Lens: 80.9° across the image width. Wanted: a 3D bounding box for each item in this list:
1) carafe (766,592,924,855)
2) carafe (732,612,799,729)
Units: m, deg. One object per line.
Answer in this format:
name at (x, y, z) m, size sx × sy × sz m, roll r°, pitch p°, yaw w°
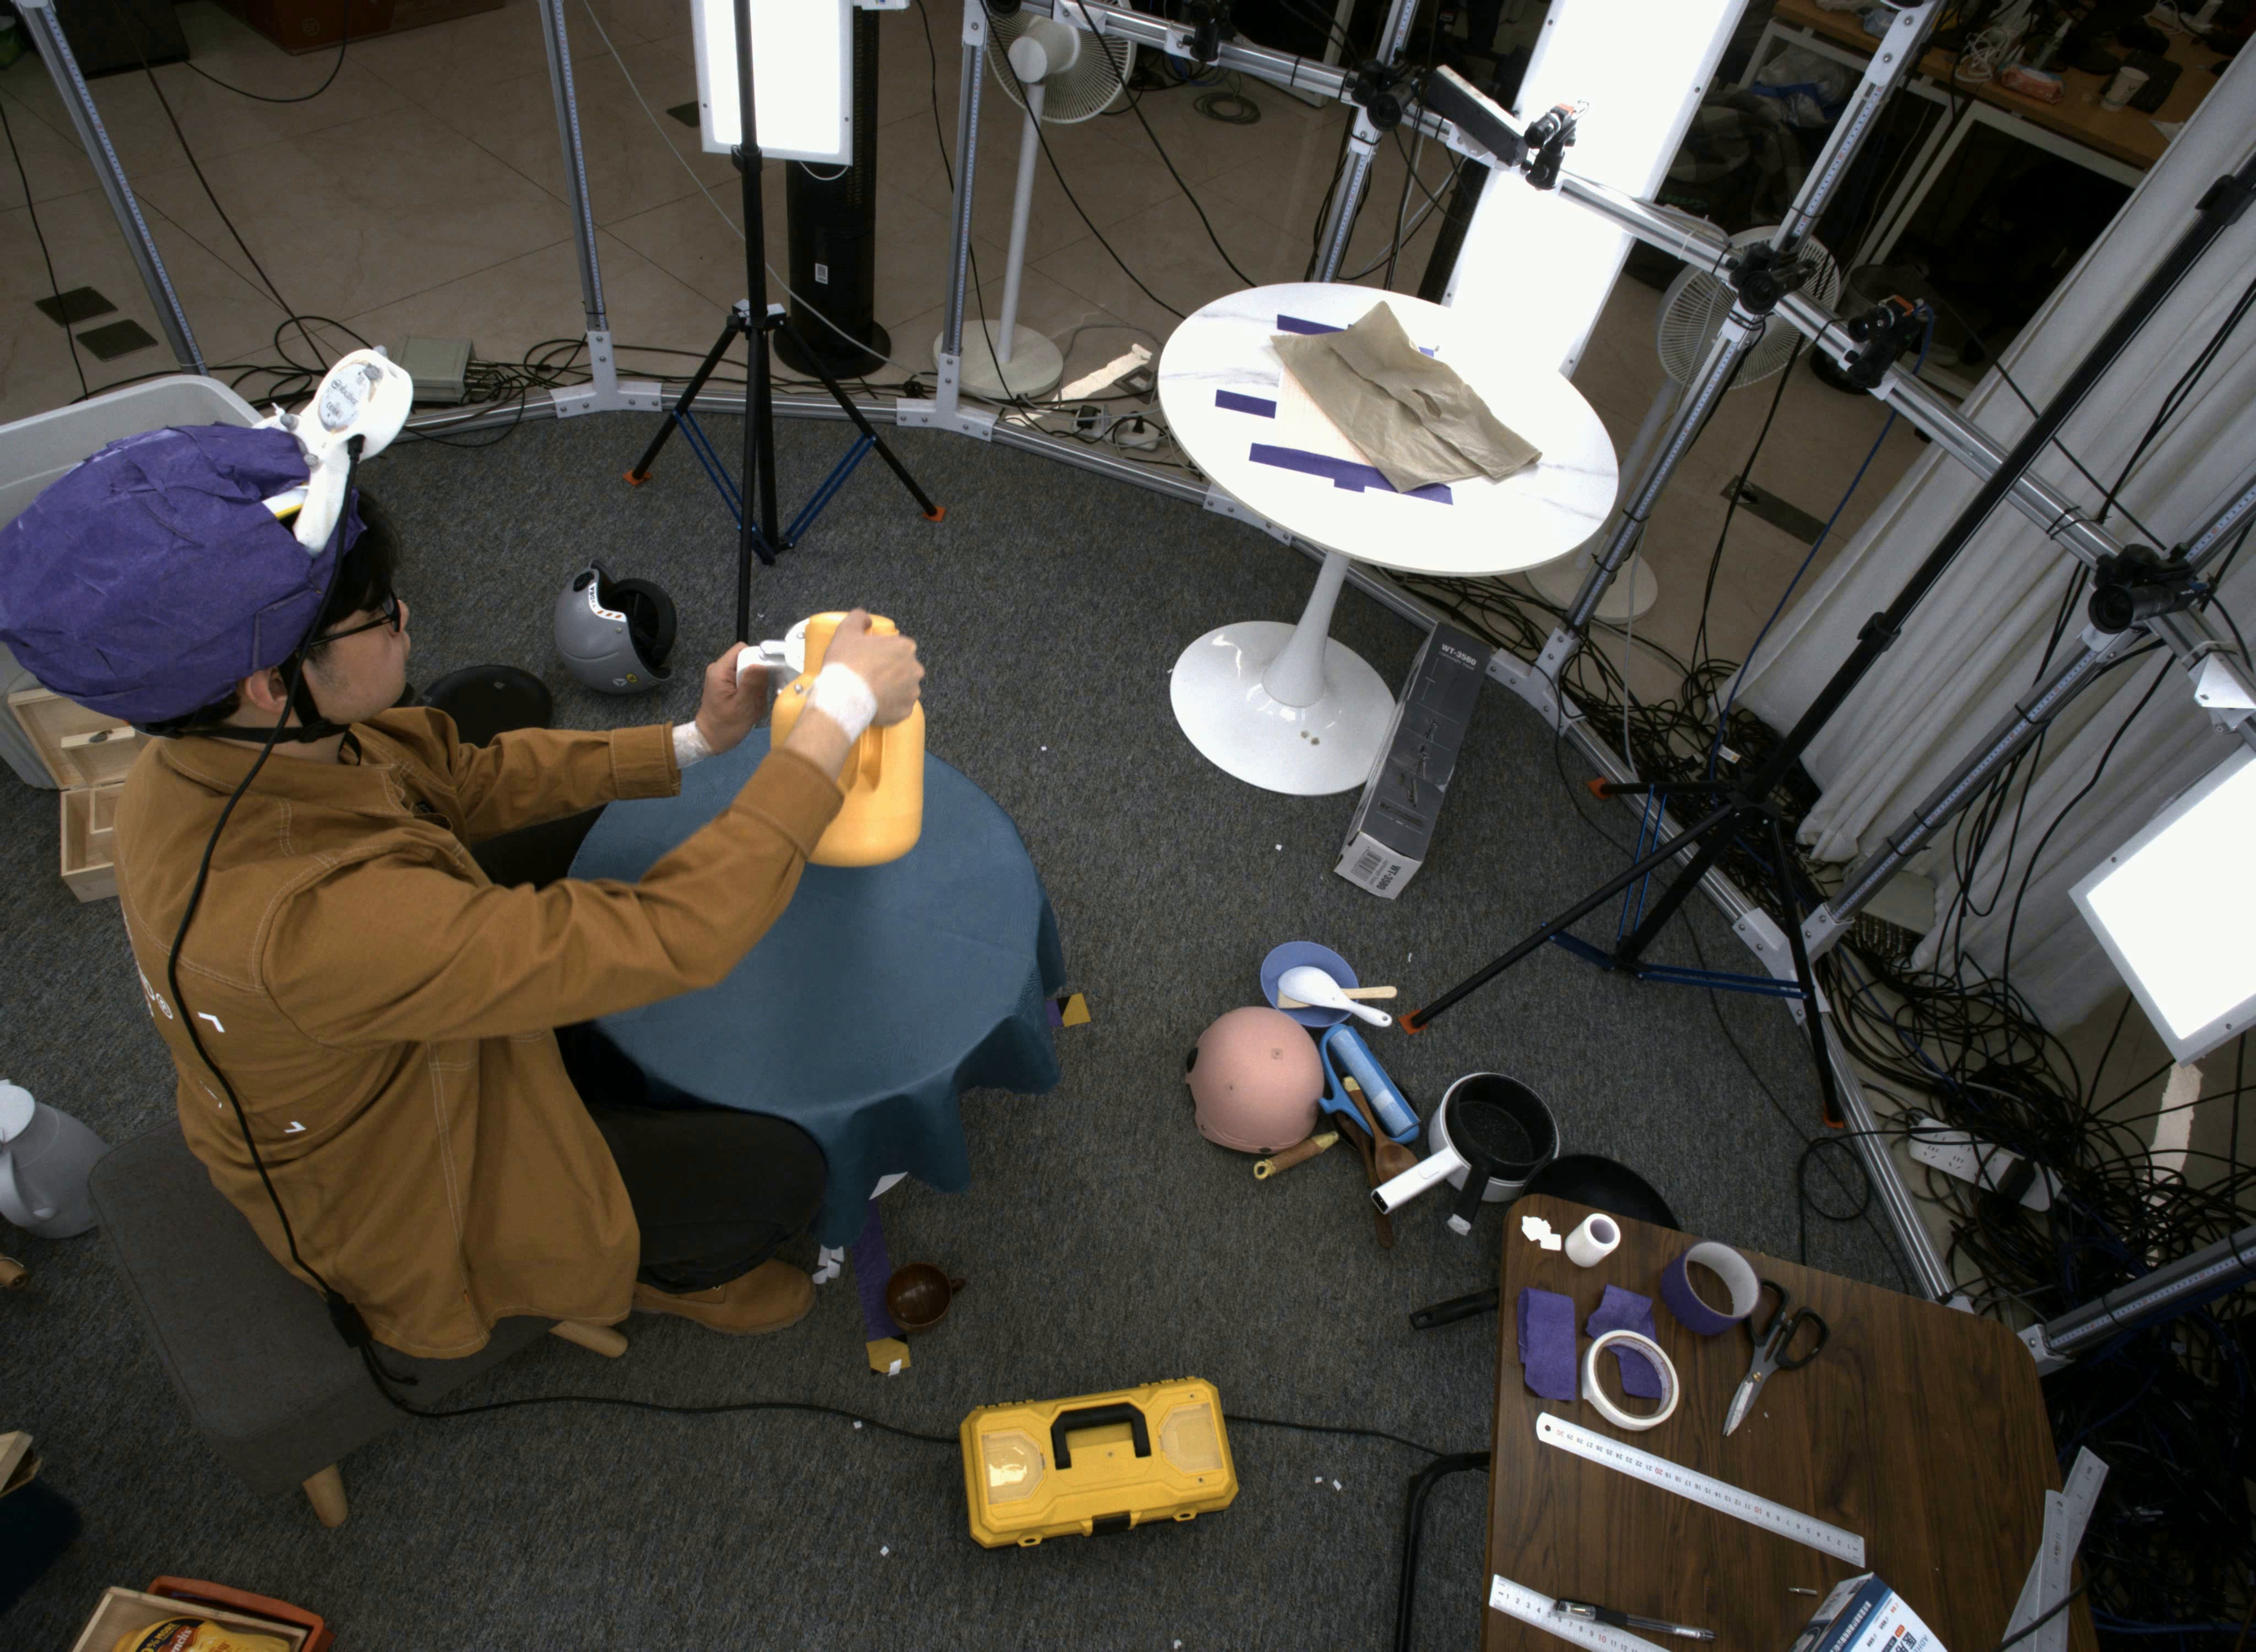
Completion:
carafe at (-0.290, -0.105, 1.337) m, size 0.164 × 0.266 × 0.196 m, roll -5°, pitch 14°, yaw -21°
carafe at (-0.391, -0.133, 1.582) m, size 0.173 × 0.273 × 0.121 m, roll -2°, pitch 57°, yaw -14°
